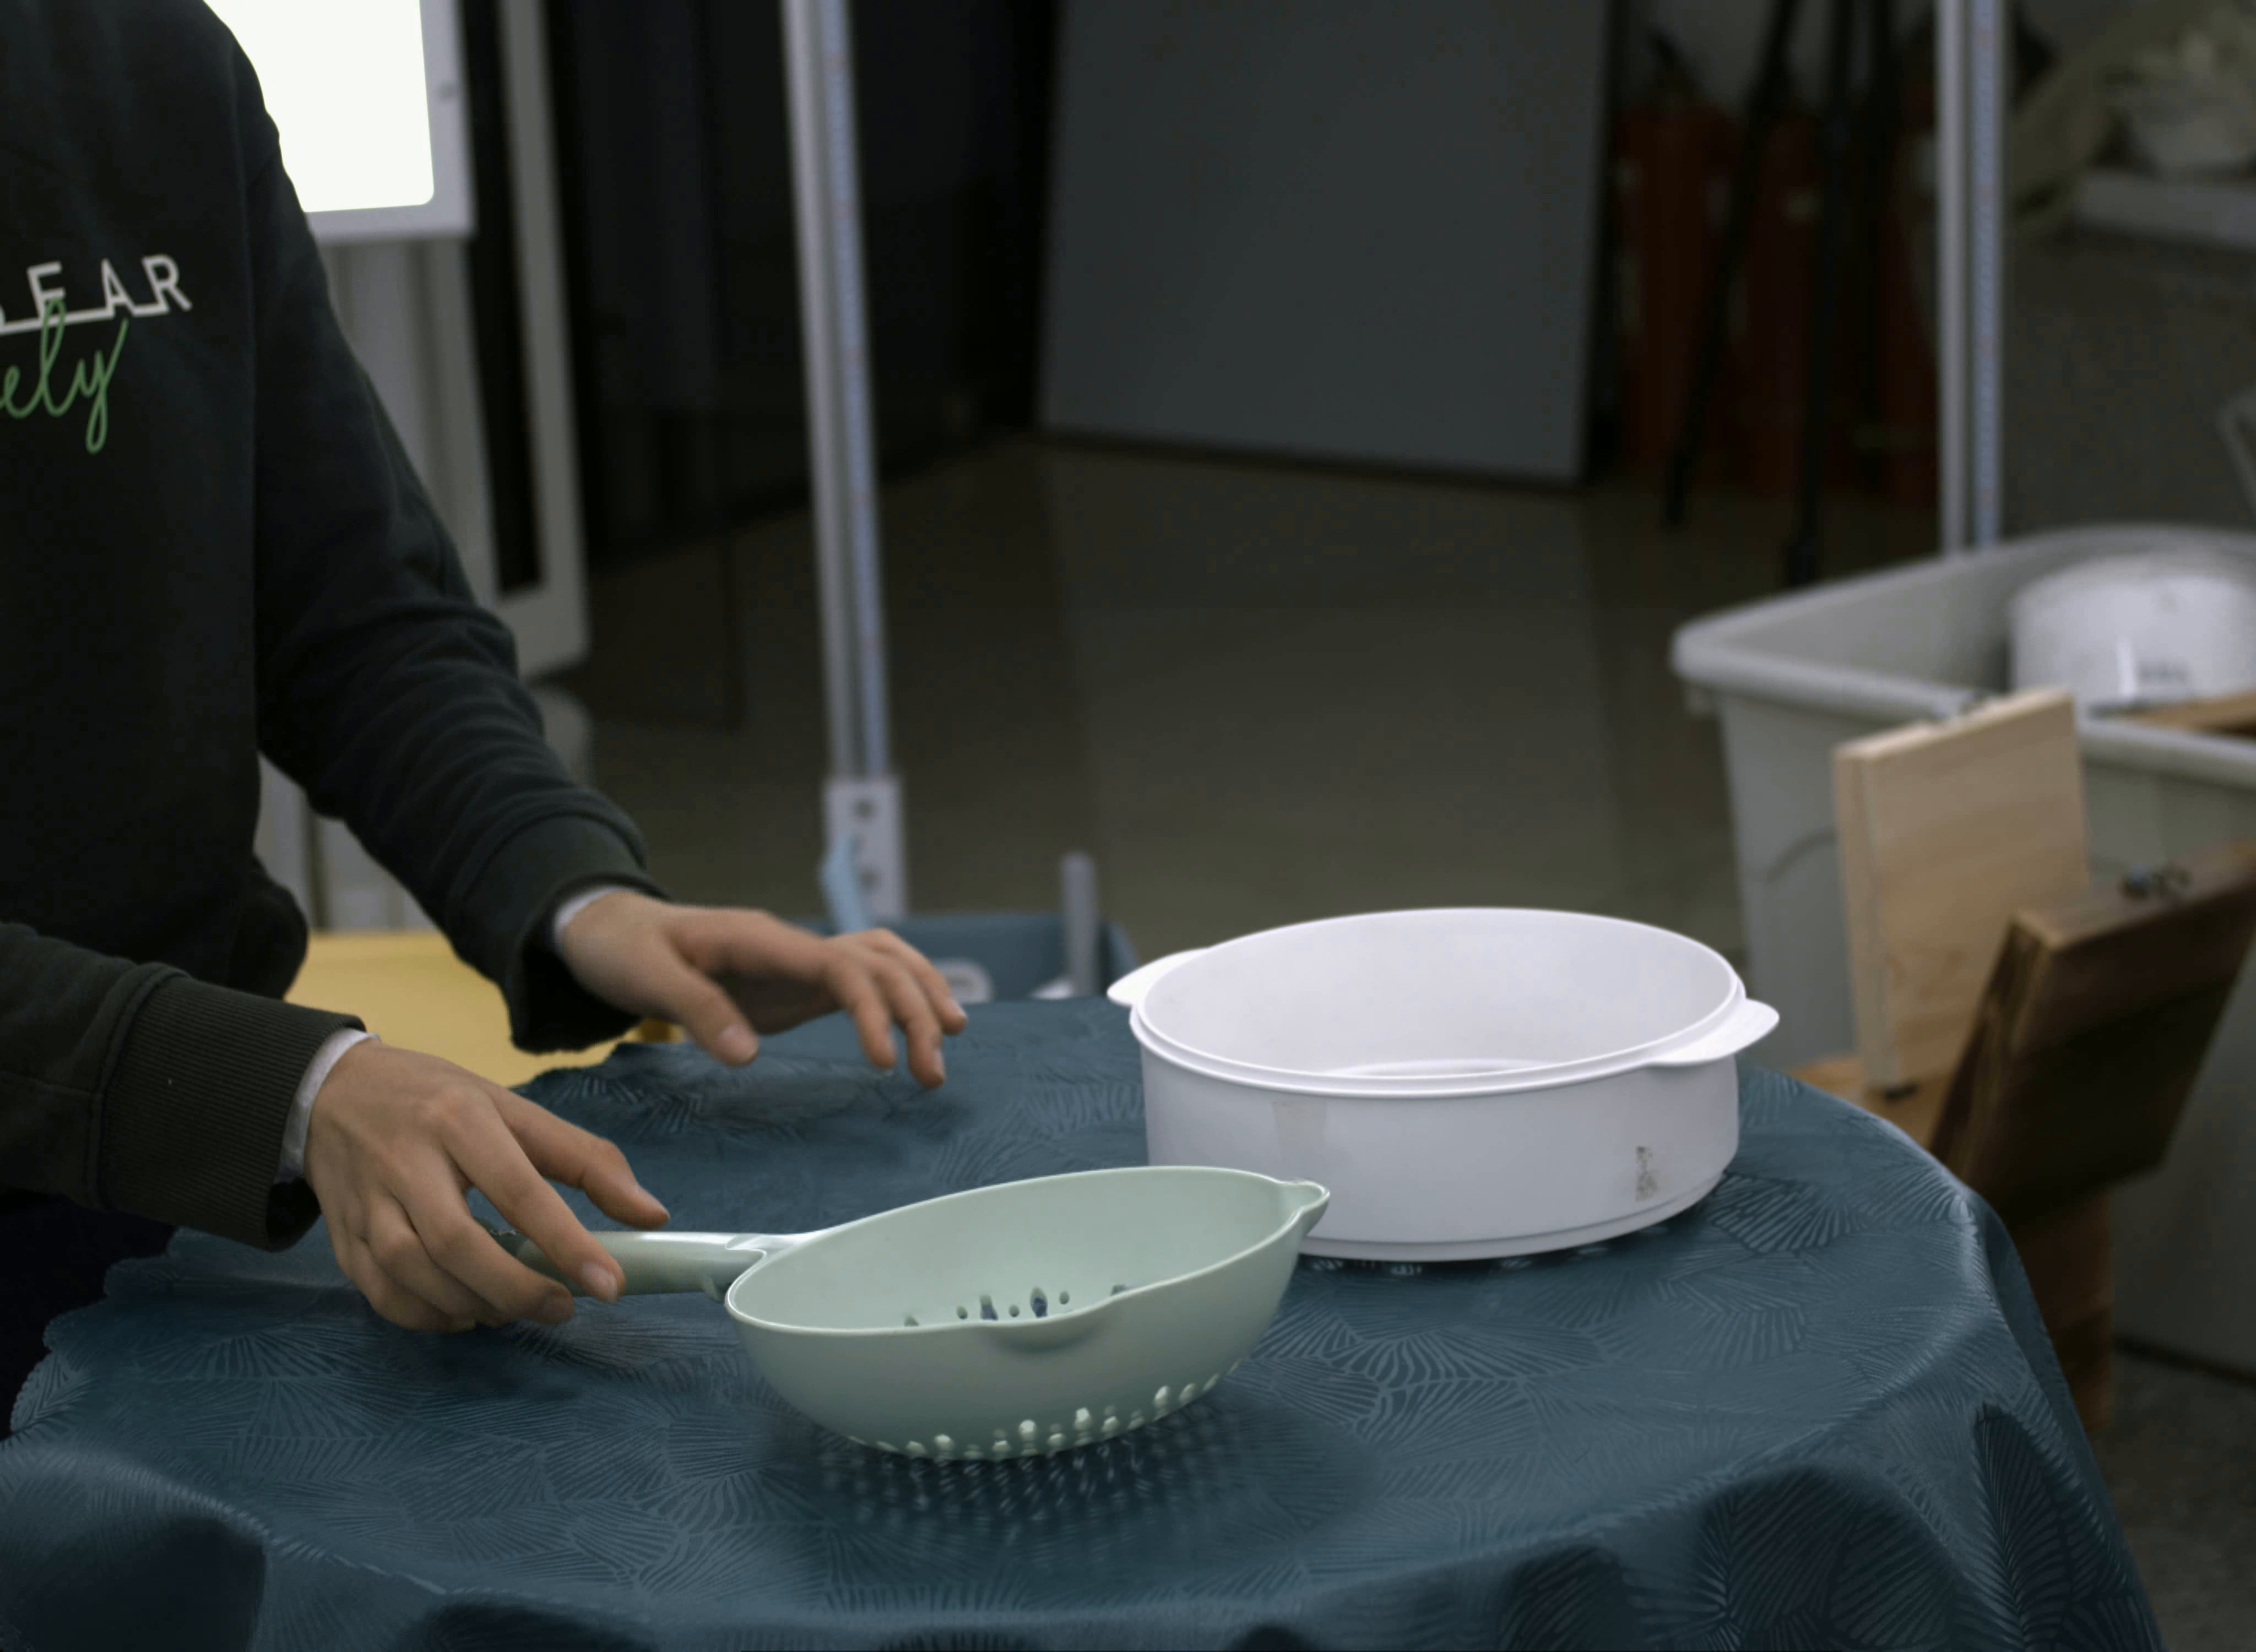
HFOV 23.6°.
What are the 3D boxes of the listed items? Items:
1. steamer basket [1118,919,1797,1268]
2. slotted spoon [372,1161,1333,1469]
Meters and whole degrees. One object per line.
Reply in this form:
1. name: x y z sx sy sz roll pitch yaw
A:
1. steamer basket: 0.106 0.086 1.746 0.231 0.070 0.199 4 15 30
2. slotted spoon: -0.103 0.136 1.608 0.361 0.076 0.166 7 17 39
